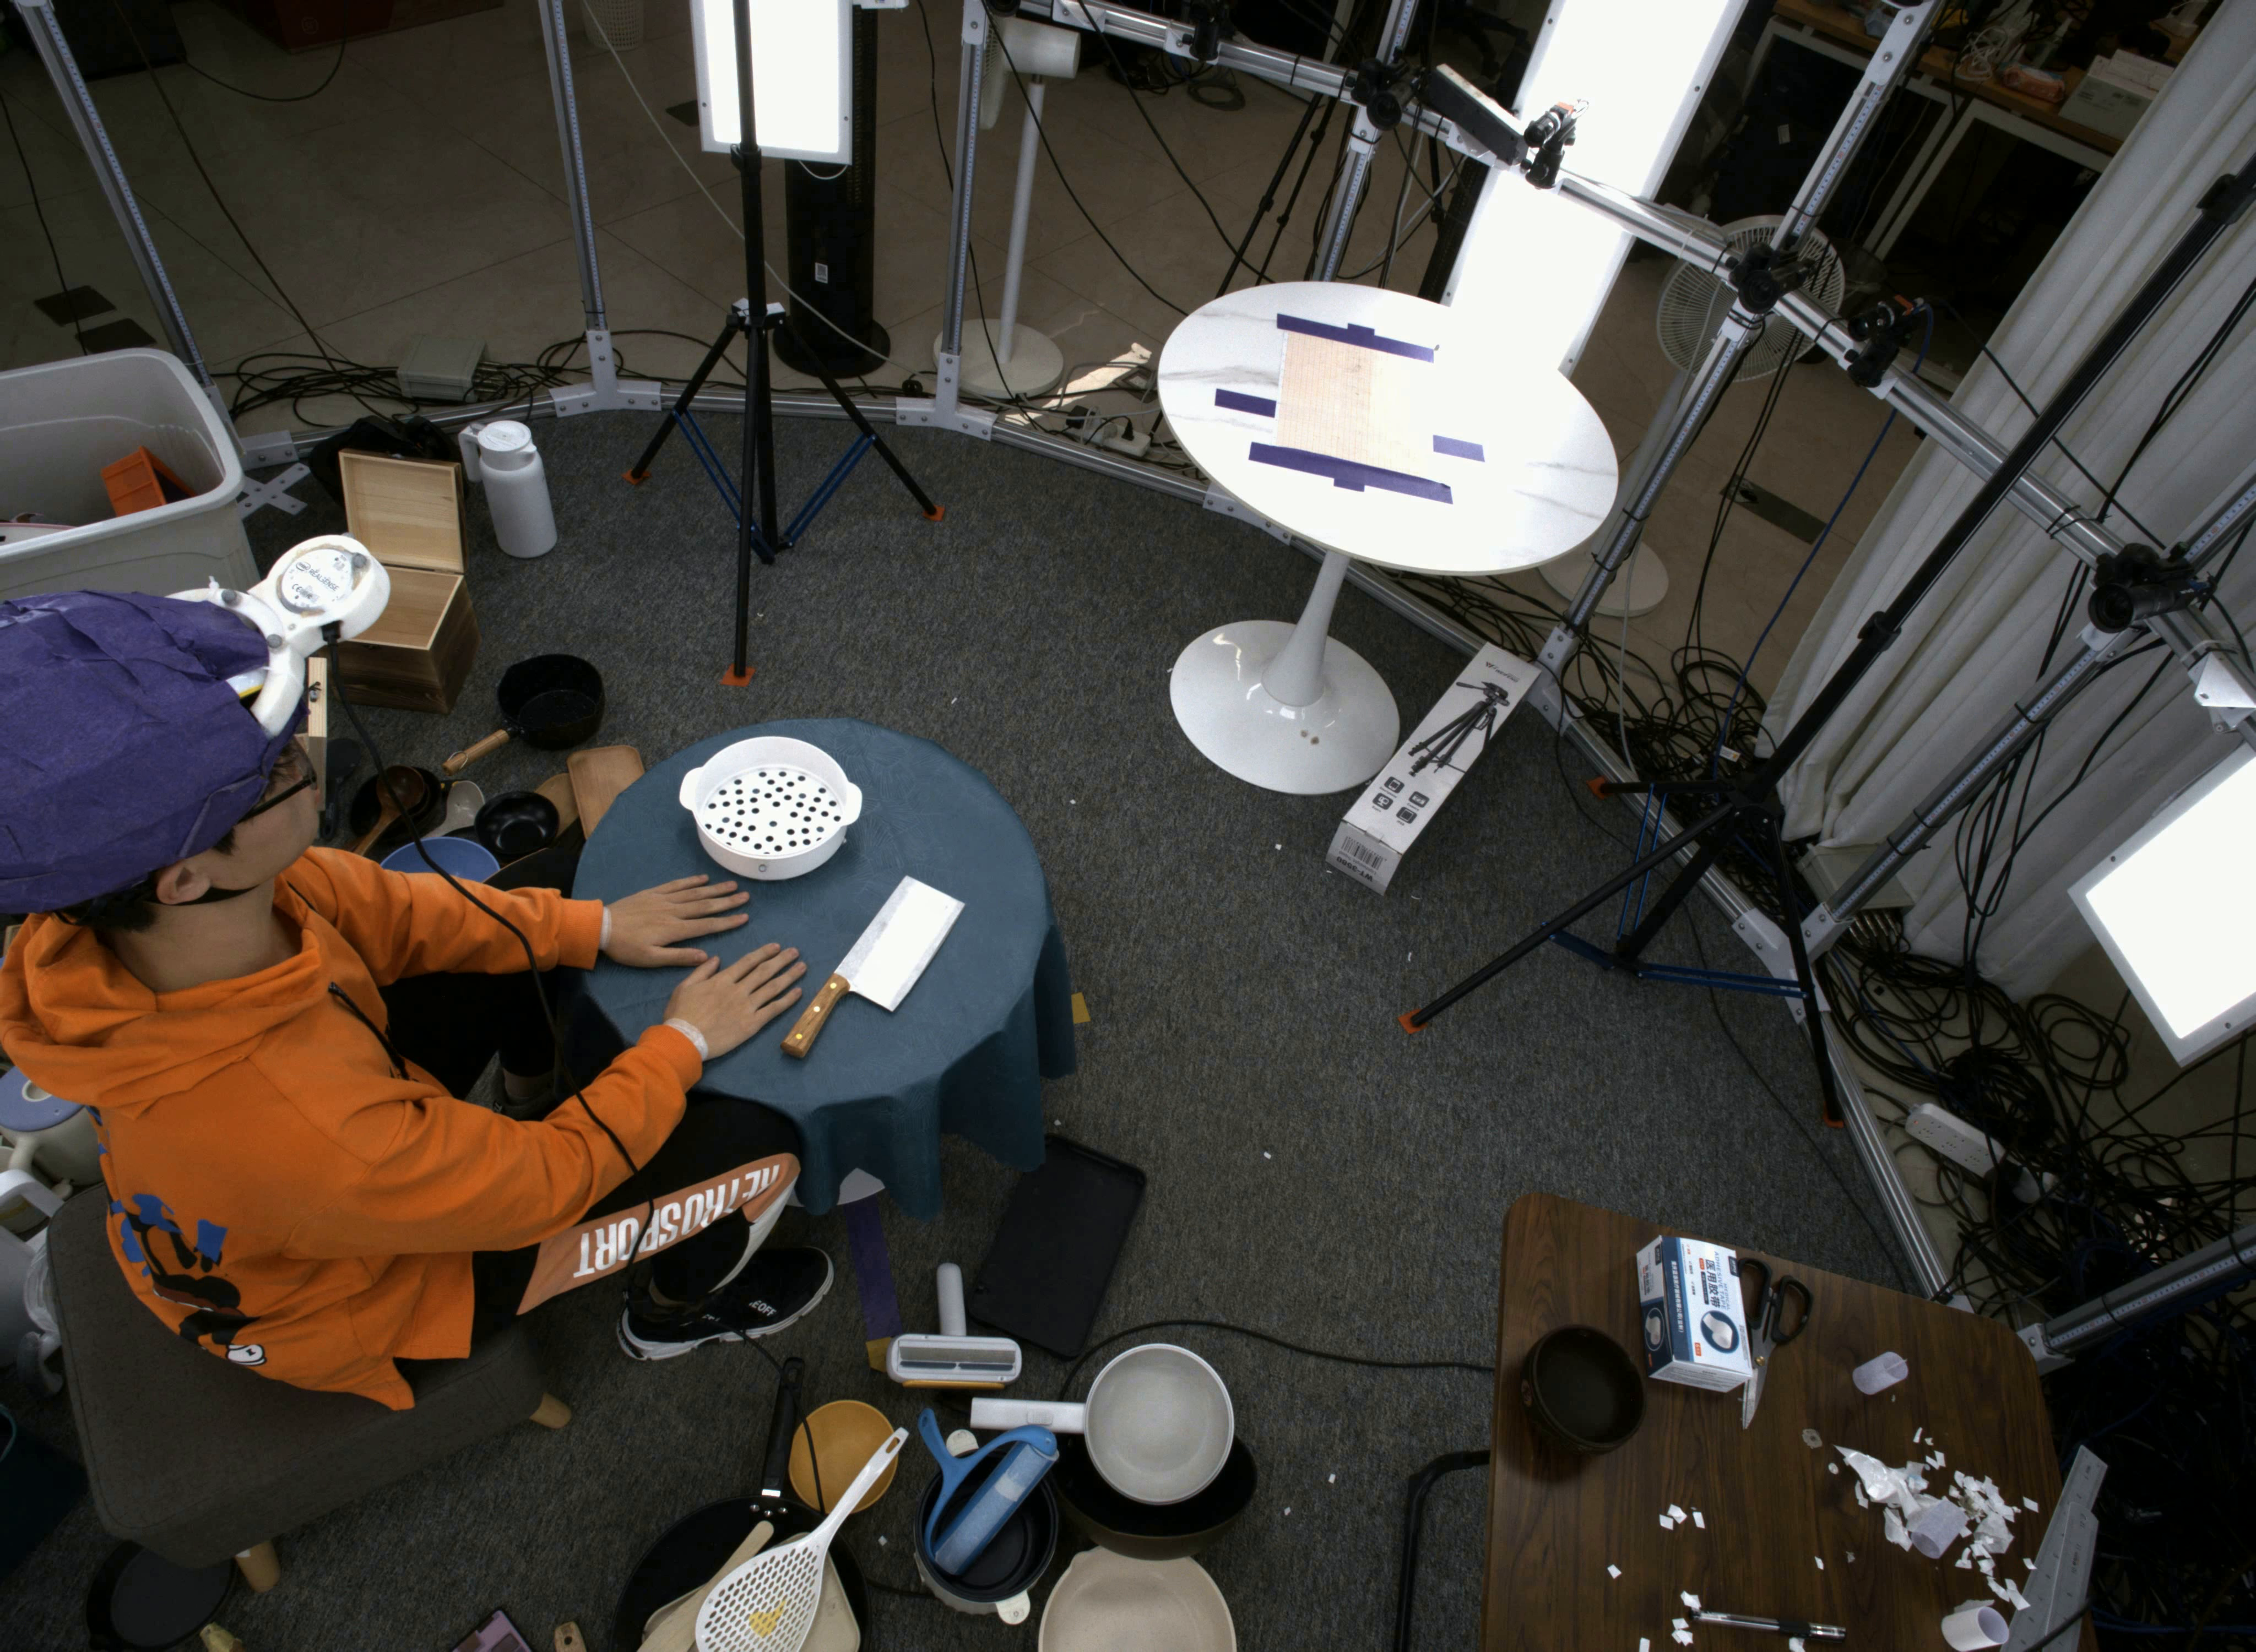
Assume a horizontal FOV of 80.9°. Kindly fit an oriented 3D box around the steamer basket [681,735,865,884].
[{"bbox_3d":[-0.458,-0.022,1.677,0.231,0.070,0.198,7,53,-12],"label":"steamer basket"}]

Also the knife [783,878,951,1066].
[{"bbox_3d":[-0.311,0.180,1.599,0.092,0.021,0.303,27,49,4],"label":"knife"}]
